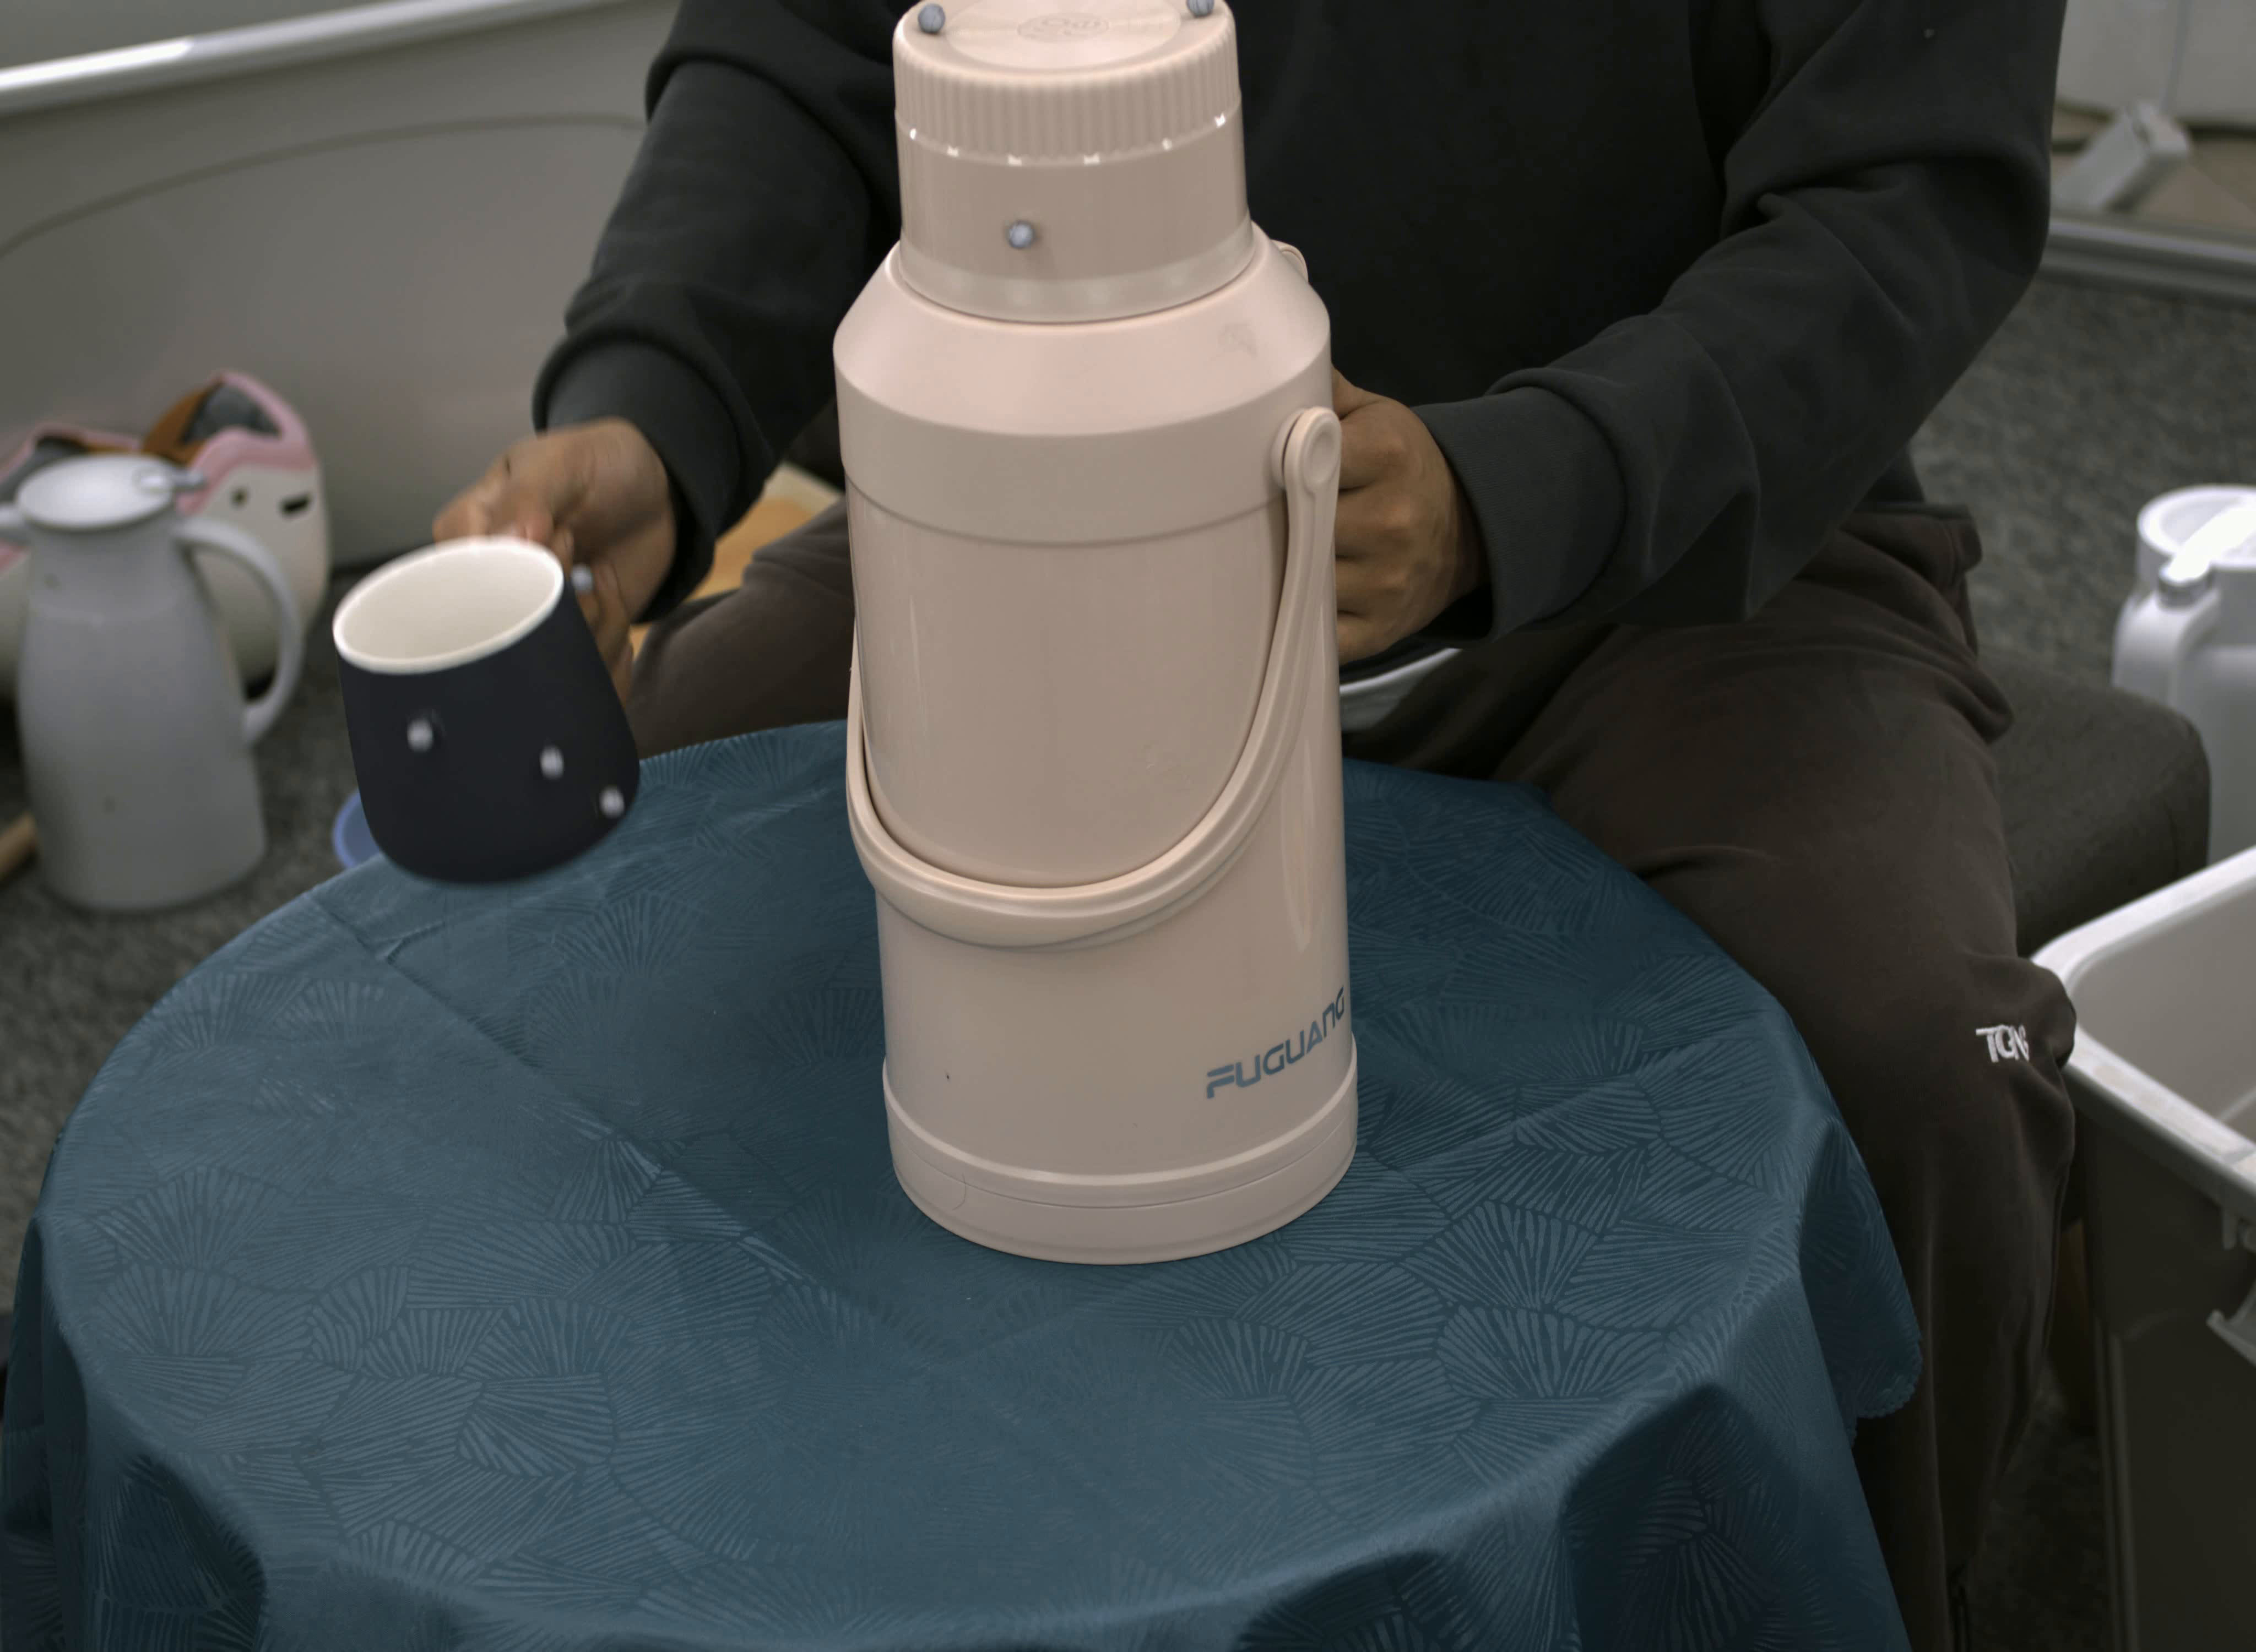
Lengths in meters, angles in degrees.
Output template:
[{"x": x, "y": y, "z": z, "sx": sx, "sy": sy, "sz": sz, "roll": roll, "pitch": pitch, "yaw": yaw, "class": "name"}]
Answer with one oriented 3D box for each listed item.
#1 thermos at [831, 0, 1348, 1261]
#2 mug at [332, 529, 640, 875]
[{"x": -0.003, "y": -0.075, "z": 1.820, "sx": 0.174, "sy": 0.402, "sz": 0.210, "roll": 13, "pitch": 31, "yaw": 30, "class": "thermos"}, {"x": -0.212, "y": -0.048, "z": 1.883, "sx": 0.093, "sy": 0.089, "sz": 0.125, "roll": -2, "pitch": 32, "yaw": 16, "class": "mug"}]
